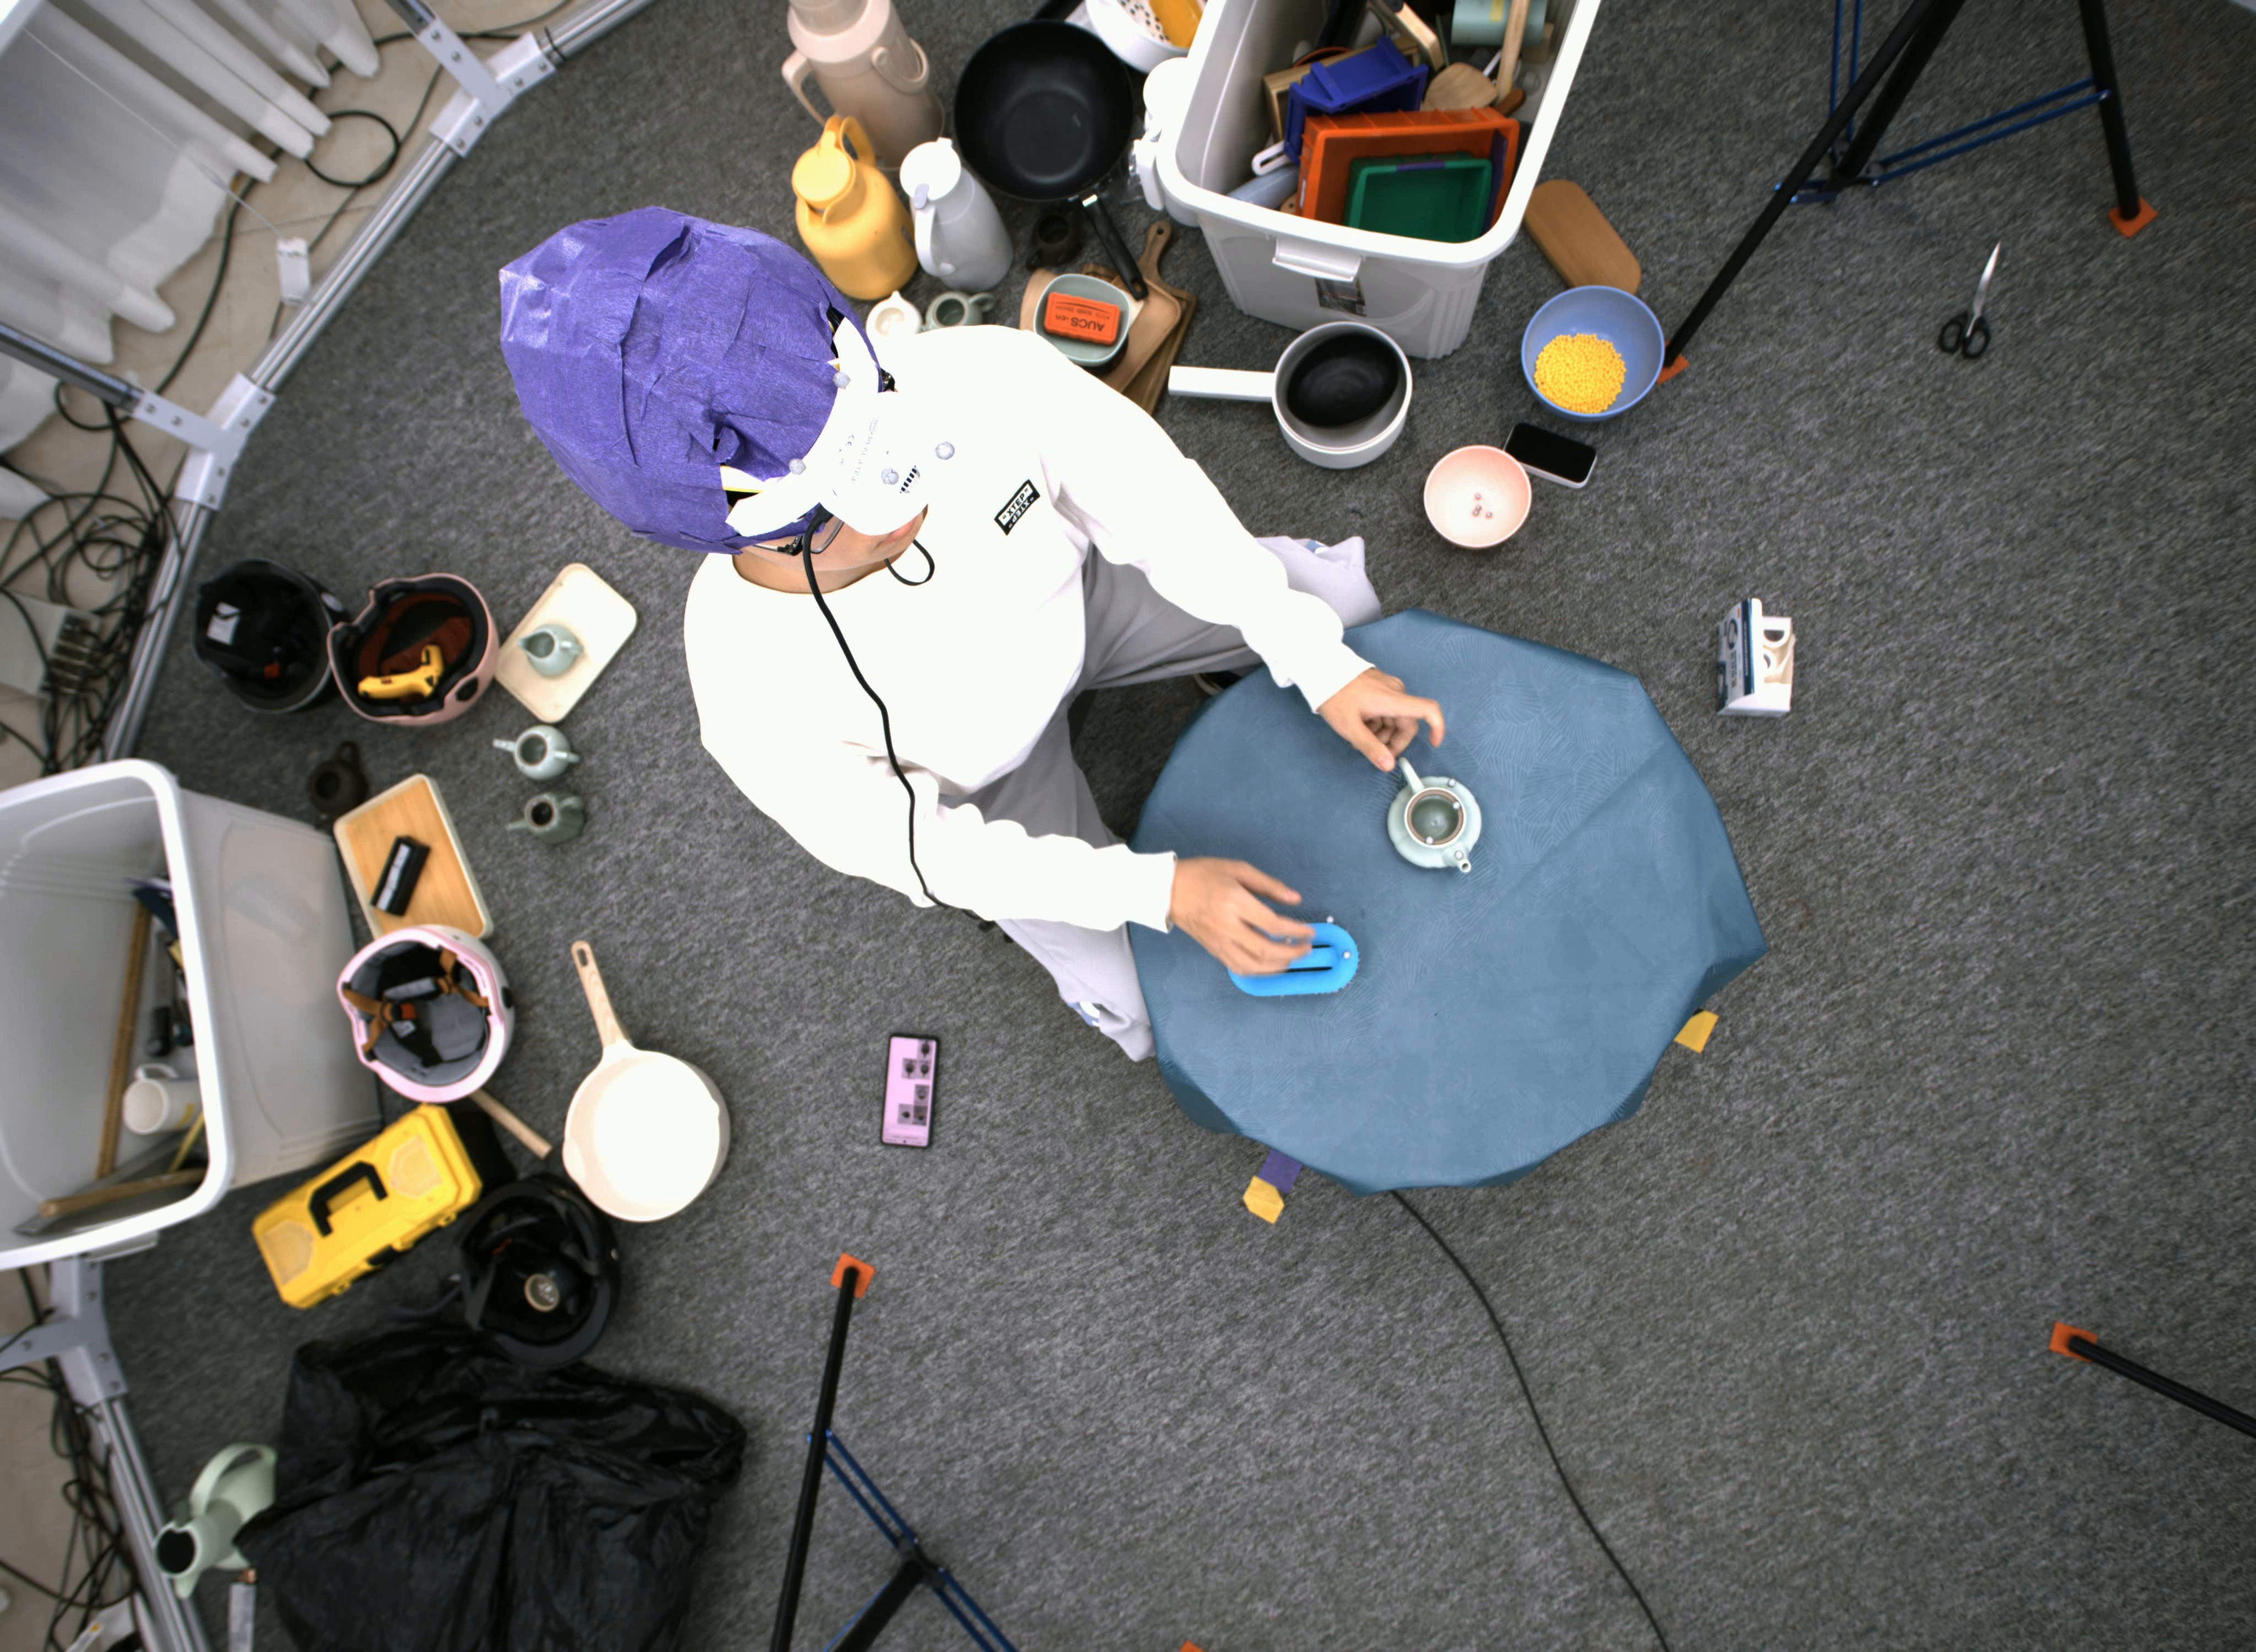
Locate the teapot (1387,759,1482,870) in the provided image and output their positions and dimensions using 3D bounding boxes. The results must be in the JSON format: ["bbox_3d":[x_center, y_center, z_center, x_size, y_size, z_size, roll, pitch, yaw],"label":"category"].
[{"bbox_3d":[0.315,-0.012,1.425,0.097,0.061,0.136,-33,81,9],"label":"teapot"}]

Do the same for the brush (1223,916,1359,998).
[{"bbox_3d":[0.169,0.137,1.442,0.142,0.063,0.084,-3,90,11],"label":"brush"}]
